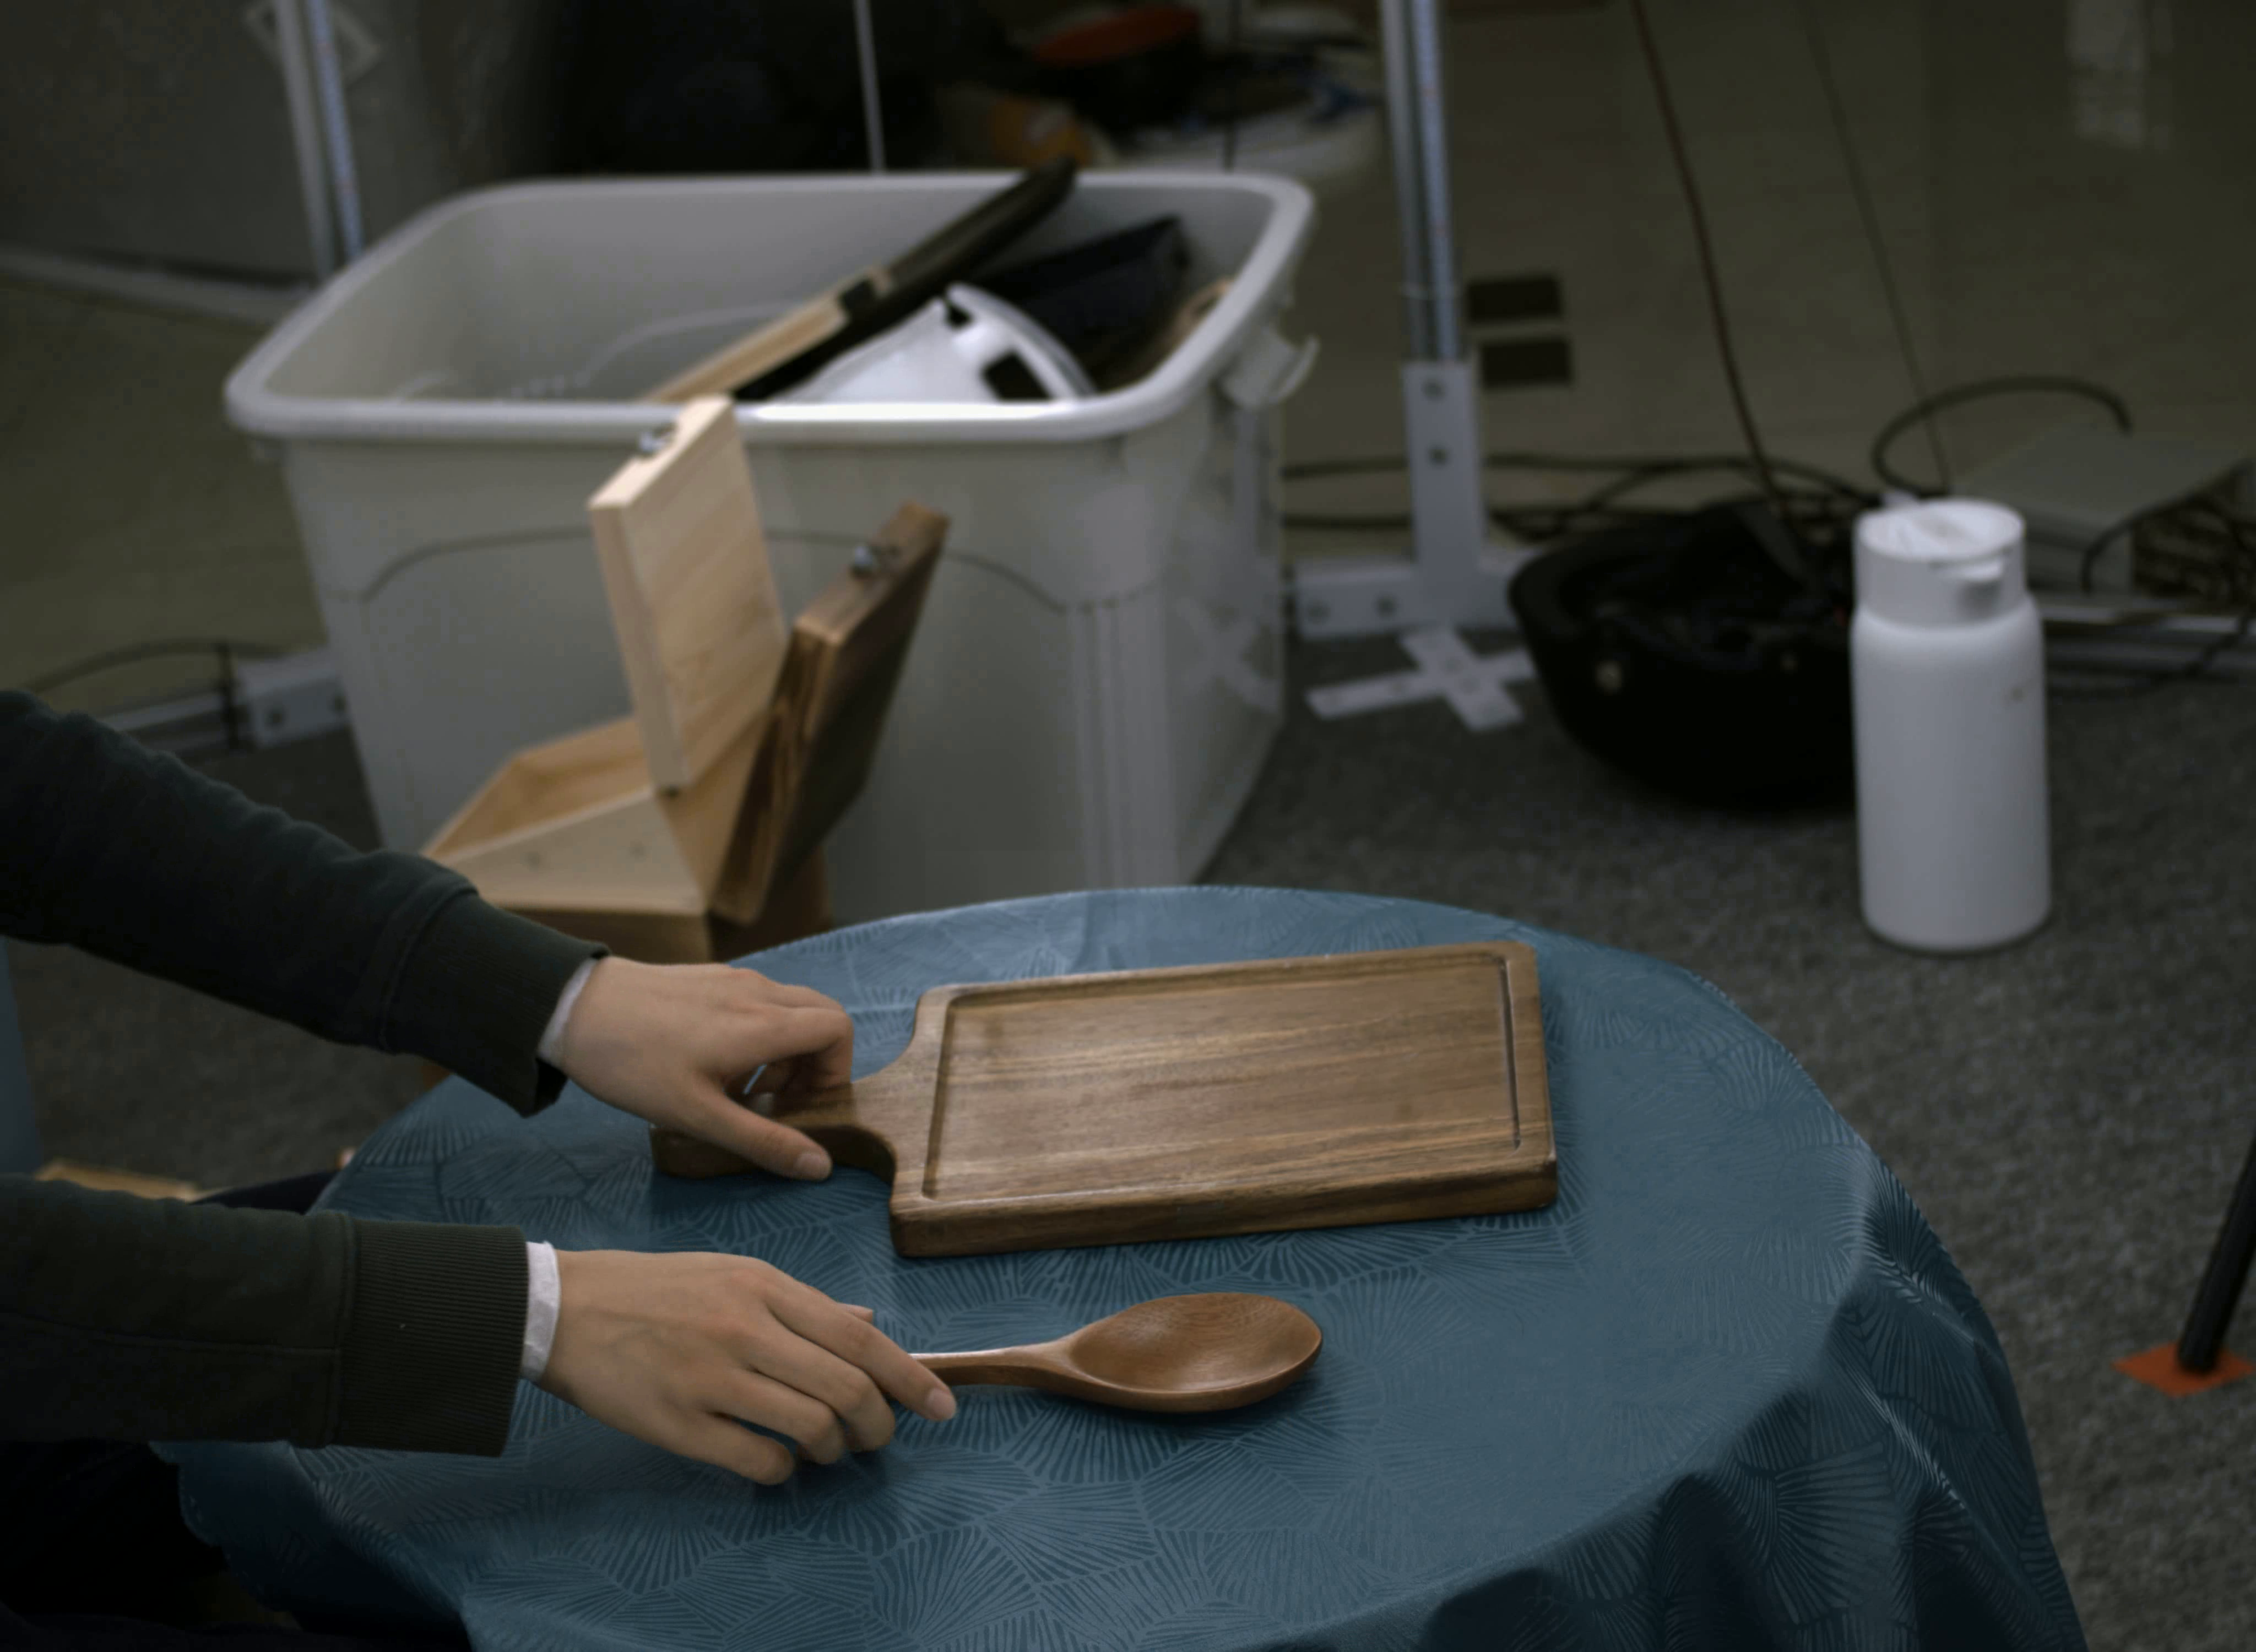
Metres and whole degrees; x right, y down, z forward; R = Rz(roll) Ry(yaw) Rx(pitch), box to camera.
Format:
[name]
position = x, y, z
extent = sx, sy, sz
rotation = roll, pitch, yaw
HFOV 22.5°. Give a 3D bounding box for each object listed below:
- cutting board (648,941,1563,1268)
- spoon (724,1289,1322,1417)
[cutting board]
position = -0.011, 0.109, 2.199
extent = 0.351, 0.023, 0.198
rotation = -5, 26, 4
[spoon]
position = -0.038, 0.193, 2.026
extent = 0.215, 0.017, 0.074
rotation = -3, 27, 6
